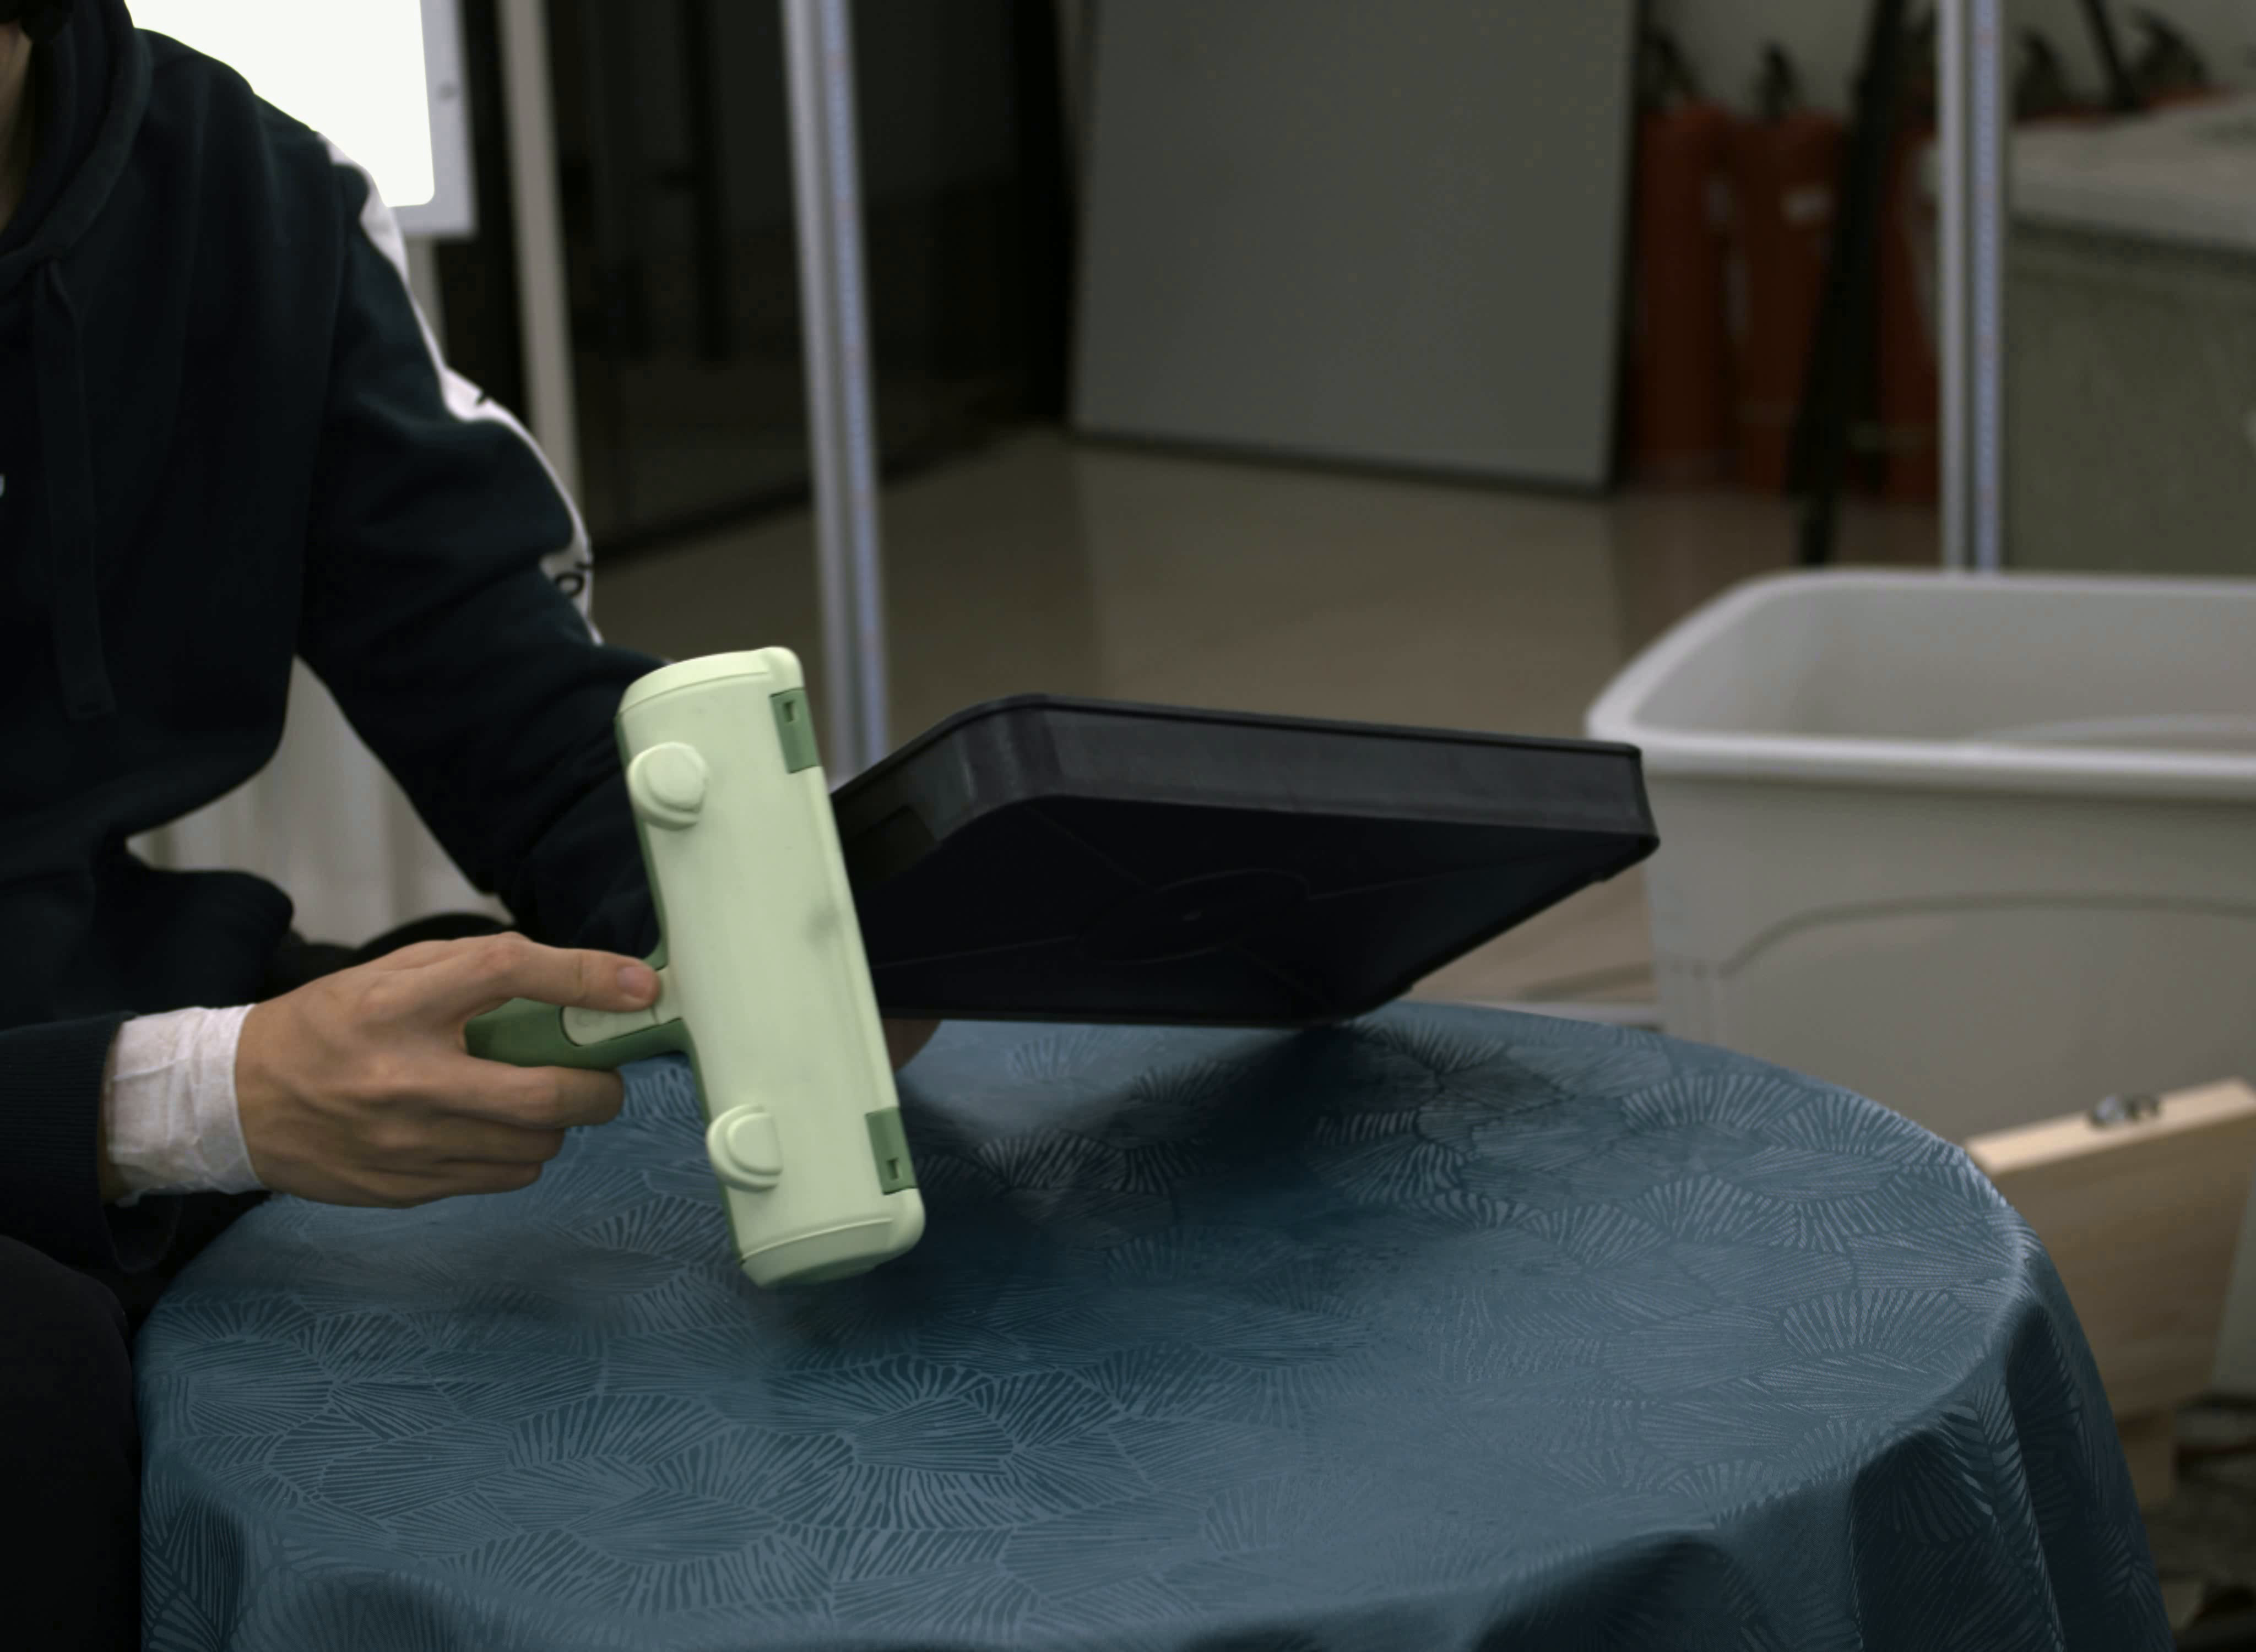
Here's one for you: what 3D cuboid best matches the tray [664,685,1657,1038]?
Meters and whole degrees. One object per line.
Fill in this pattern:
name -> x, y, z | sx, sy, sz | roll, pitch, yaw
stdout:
tray -> 0.016, 0.017, 1.788 | 0.311, 0.037, 0.186 | 4, -27, -42

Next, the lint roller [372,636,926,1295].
lint roller -> -0.164, 0.058, 1.673 | 0.183, 0.201, 0.081 | -17, -13, 15
